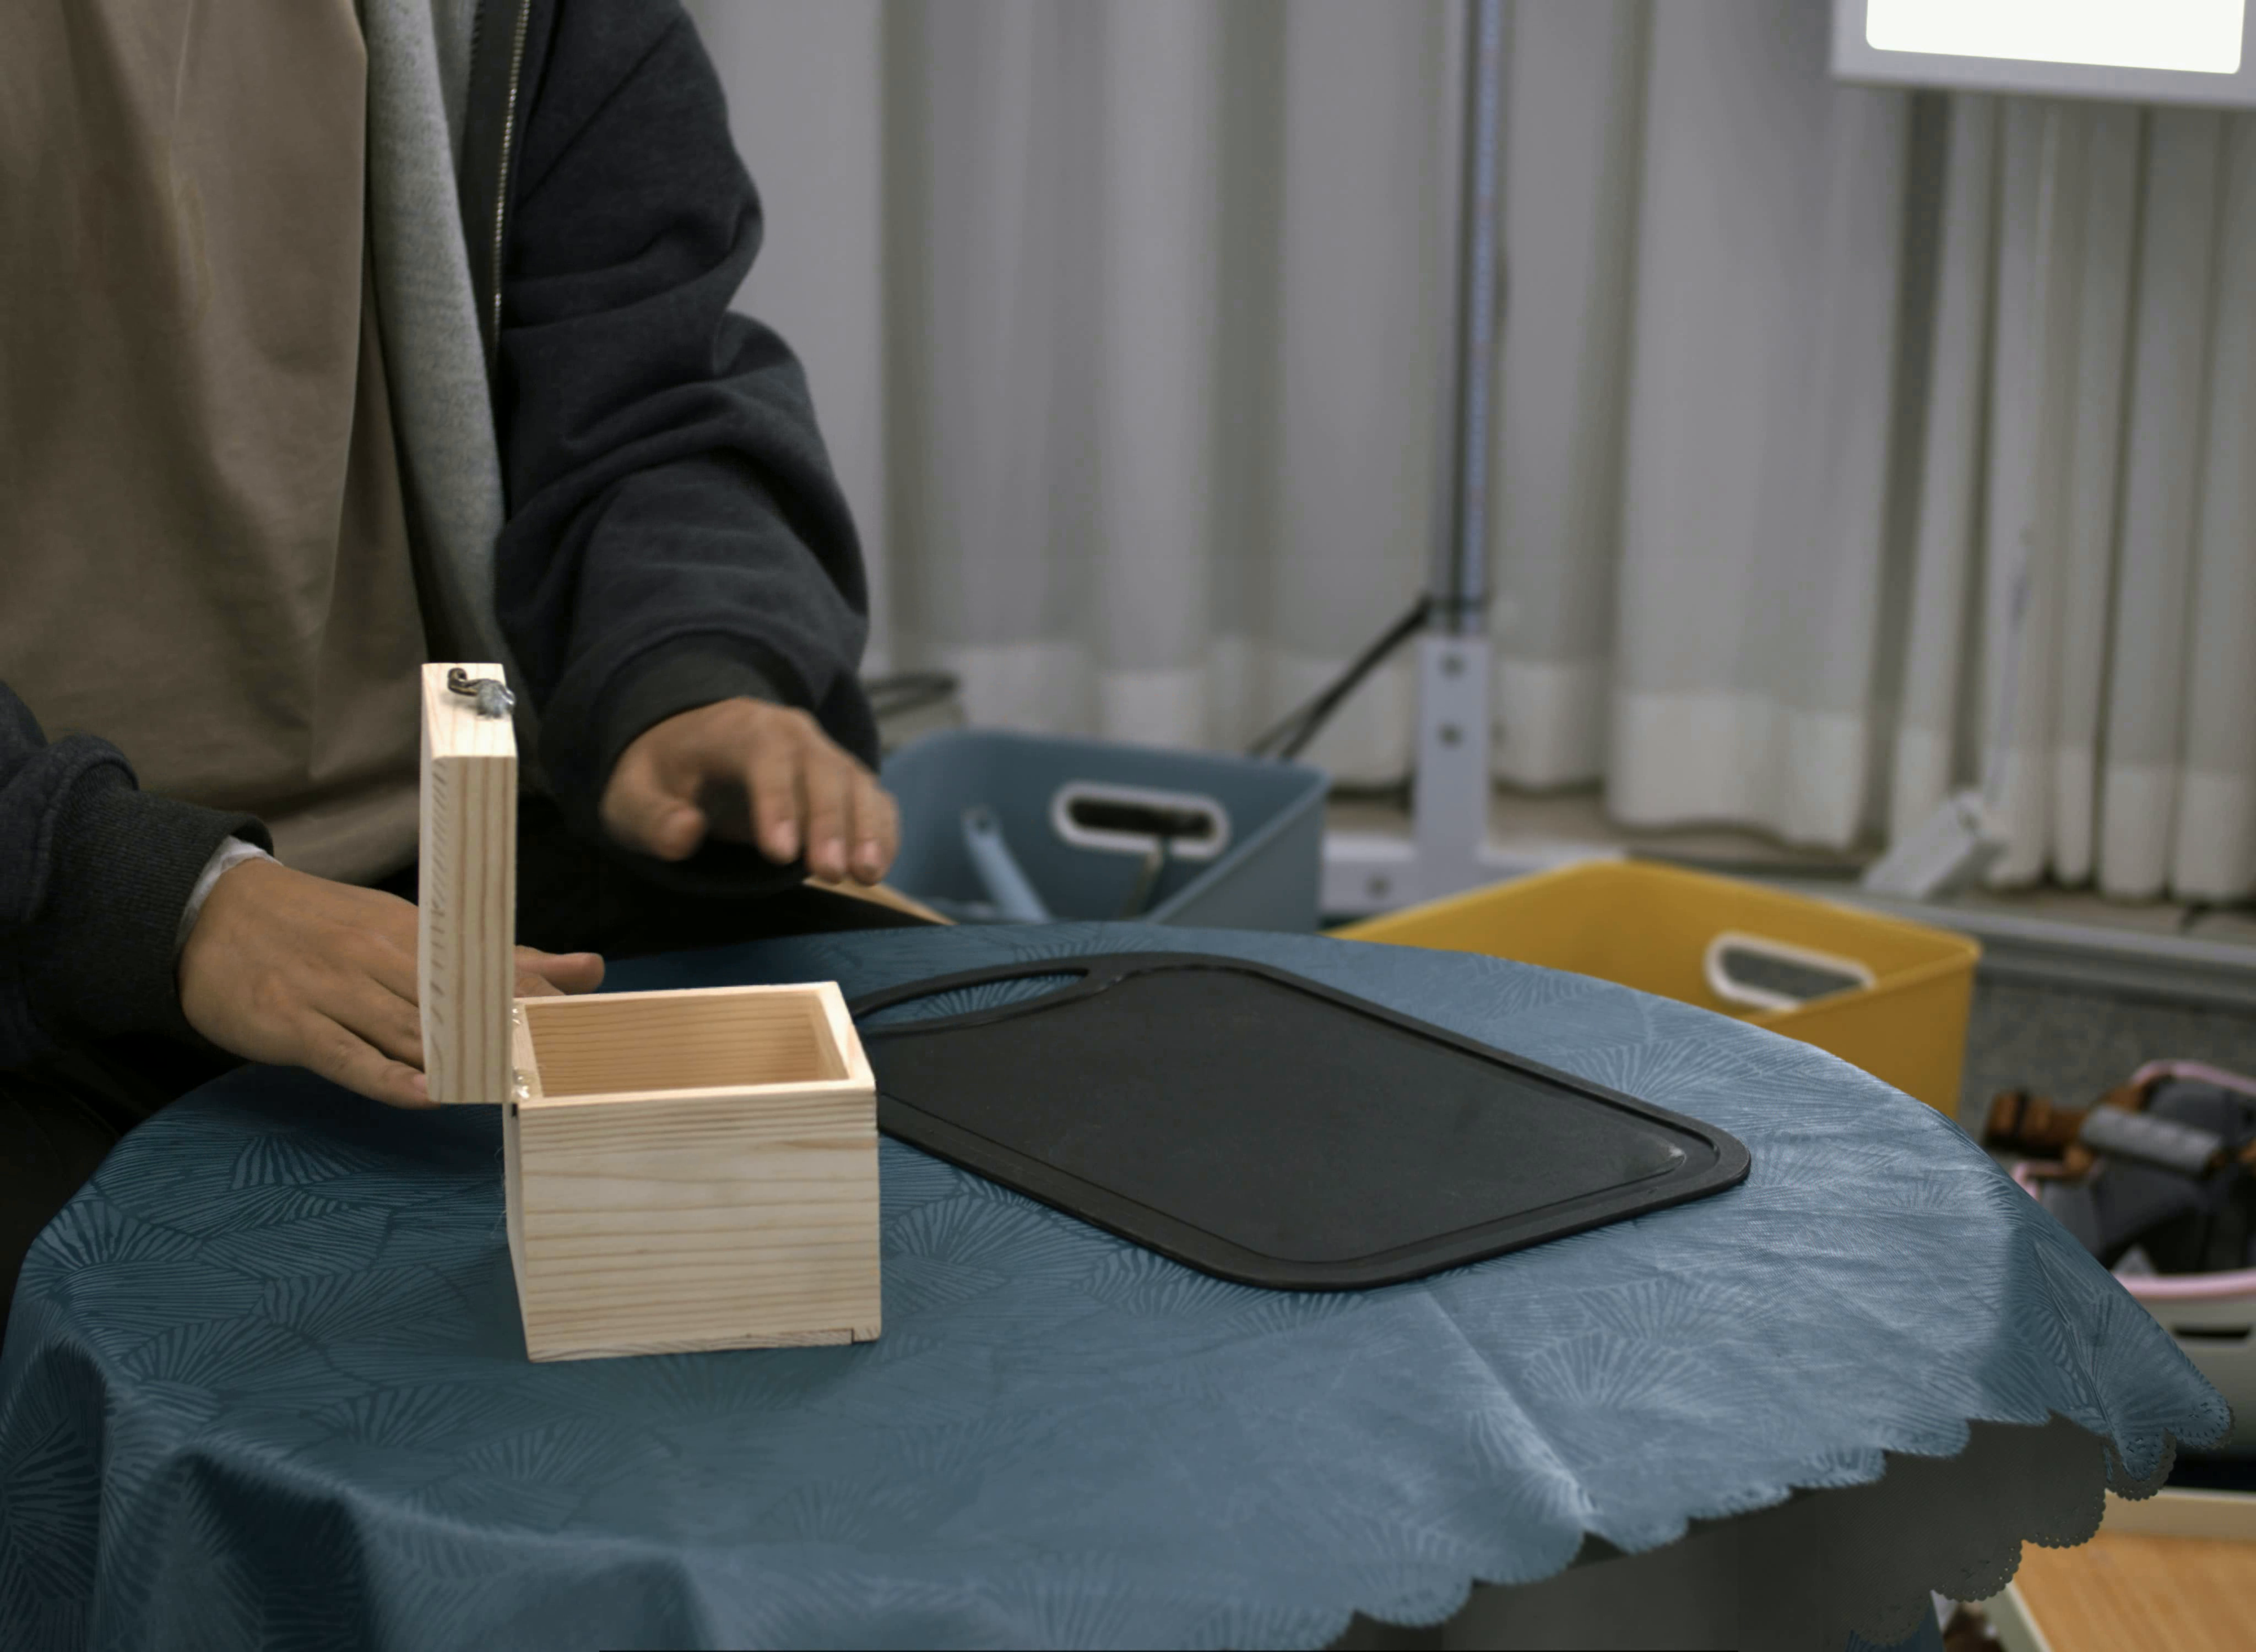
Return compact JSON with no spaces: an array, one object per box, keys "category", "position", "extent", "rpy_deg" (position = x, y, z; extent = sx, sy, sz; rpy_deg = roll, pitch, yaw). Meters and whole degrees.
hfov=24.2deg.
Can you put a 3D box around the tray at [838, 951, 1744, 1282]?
[{"category":"tray","position":[0.030,0.087,1.703],"extent":[0.212,0.010,0.321],"rpy_deg":[-11,19,-37]}]

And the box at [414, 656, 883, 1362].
[{"category":"box","position":[-0.137,0.047,1.504],"extent":[0.134,0.186,0.101],"rpy_deg":[-4,17,-9]}]
